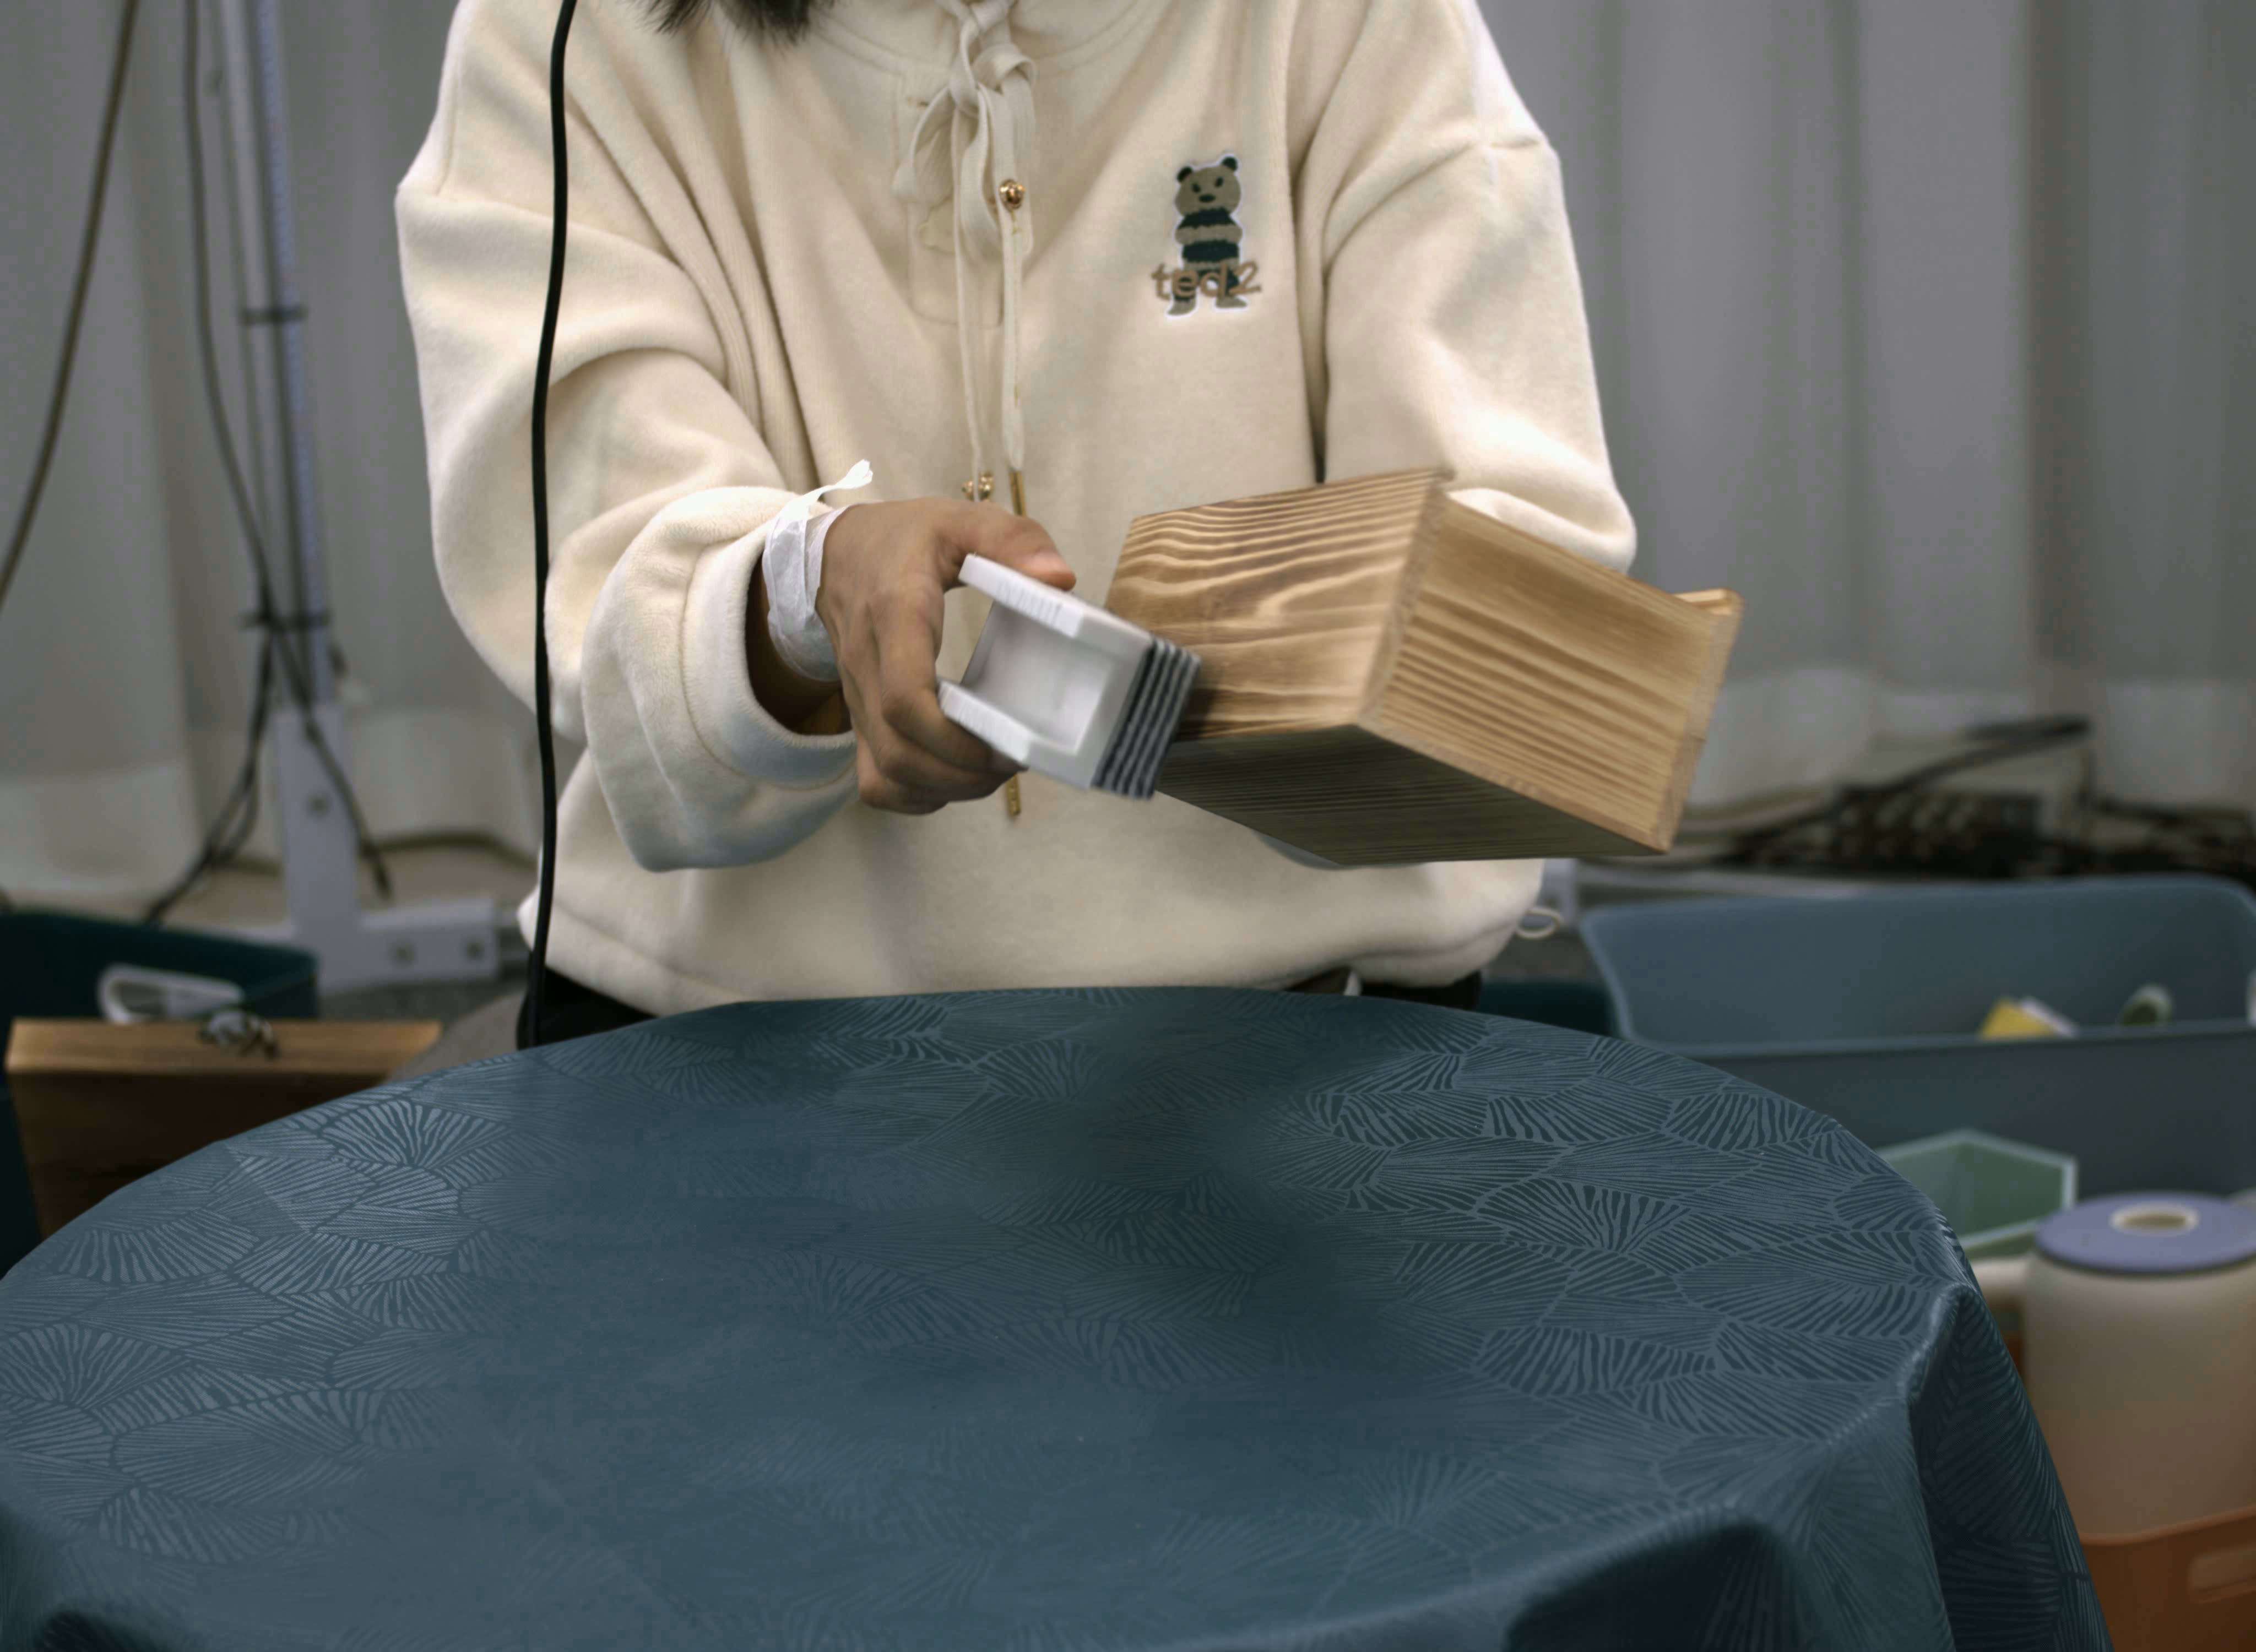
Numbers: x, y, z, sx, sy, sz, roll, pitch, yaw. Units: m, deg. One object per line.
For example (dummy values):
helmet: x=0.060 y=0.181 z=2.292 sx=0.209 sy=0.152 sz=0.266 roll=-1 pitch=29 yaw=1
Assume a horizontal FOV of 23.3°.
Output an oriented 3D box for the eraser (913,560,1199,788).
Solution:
eraser: x=-0.023 y=-0.047 z=1.657 sx=0.046 sy=0.050 sz=0.135 roll=19 pitch=1 yaw=-19

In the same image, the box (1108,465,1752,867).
box: x=0.079 y=-0.043 z=1.628 sx=0.106 sy=0.081 sz=0.212 roll=23 pitch=-10 yaw=-22
